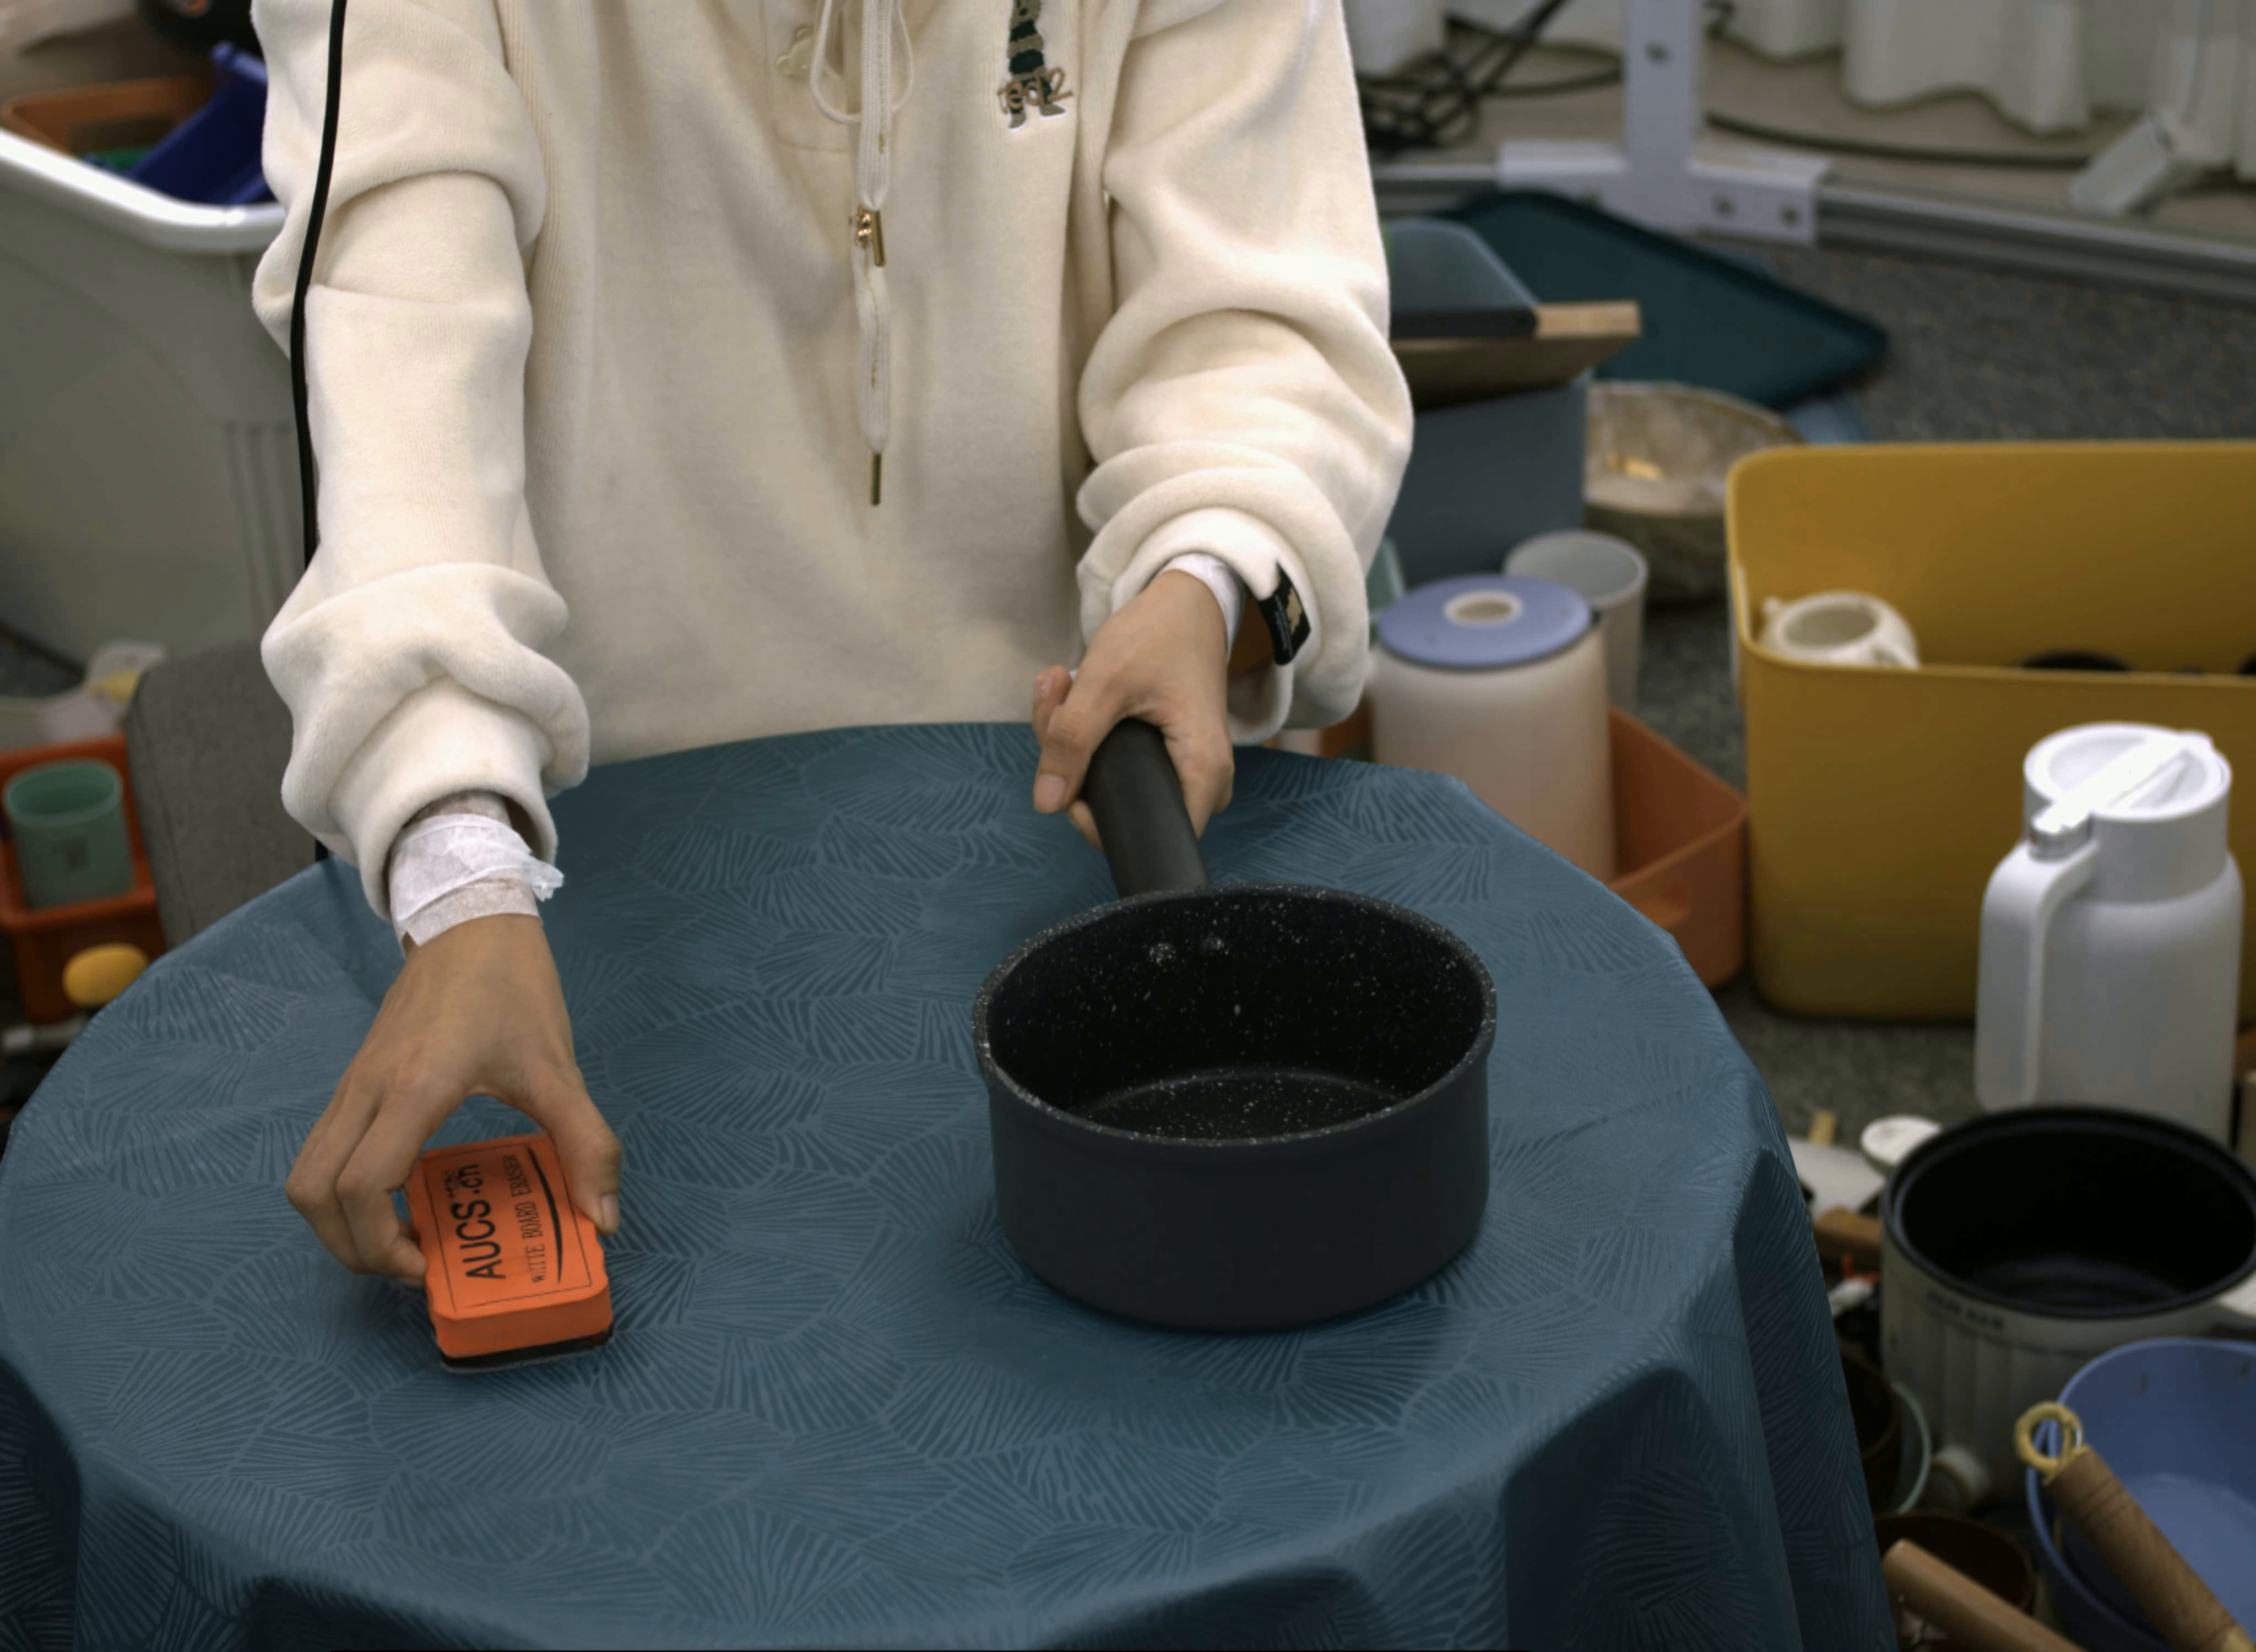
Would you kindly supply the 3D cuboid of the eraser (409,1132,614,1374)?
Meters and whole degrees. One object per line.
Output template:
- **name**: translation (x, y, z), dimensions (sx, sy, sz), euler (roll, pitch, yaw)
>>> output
- **eraser**: translation (-0.201, 0.138, 1.823), dimensions (0.059, 0.022, 0.109), euler (-8, 28, -8)

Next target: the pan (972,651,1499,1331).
- **pan**: translation (0.025, 0.052, 1.902), dimensions (0.171, 0.085, 0.333), euler (-6, 29, -6)
